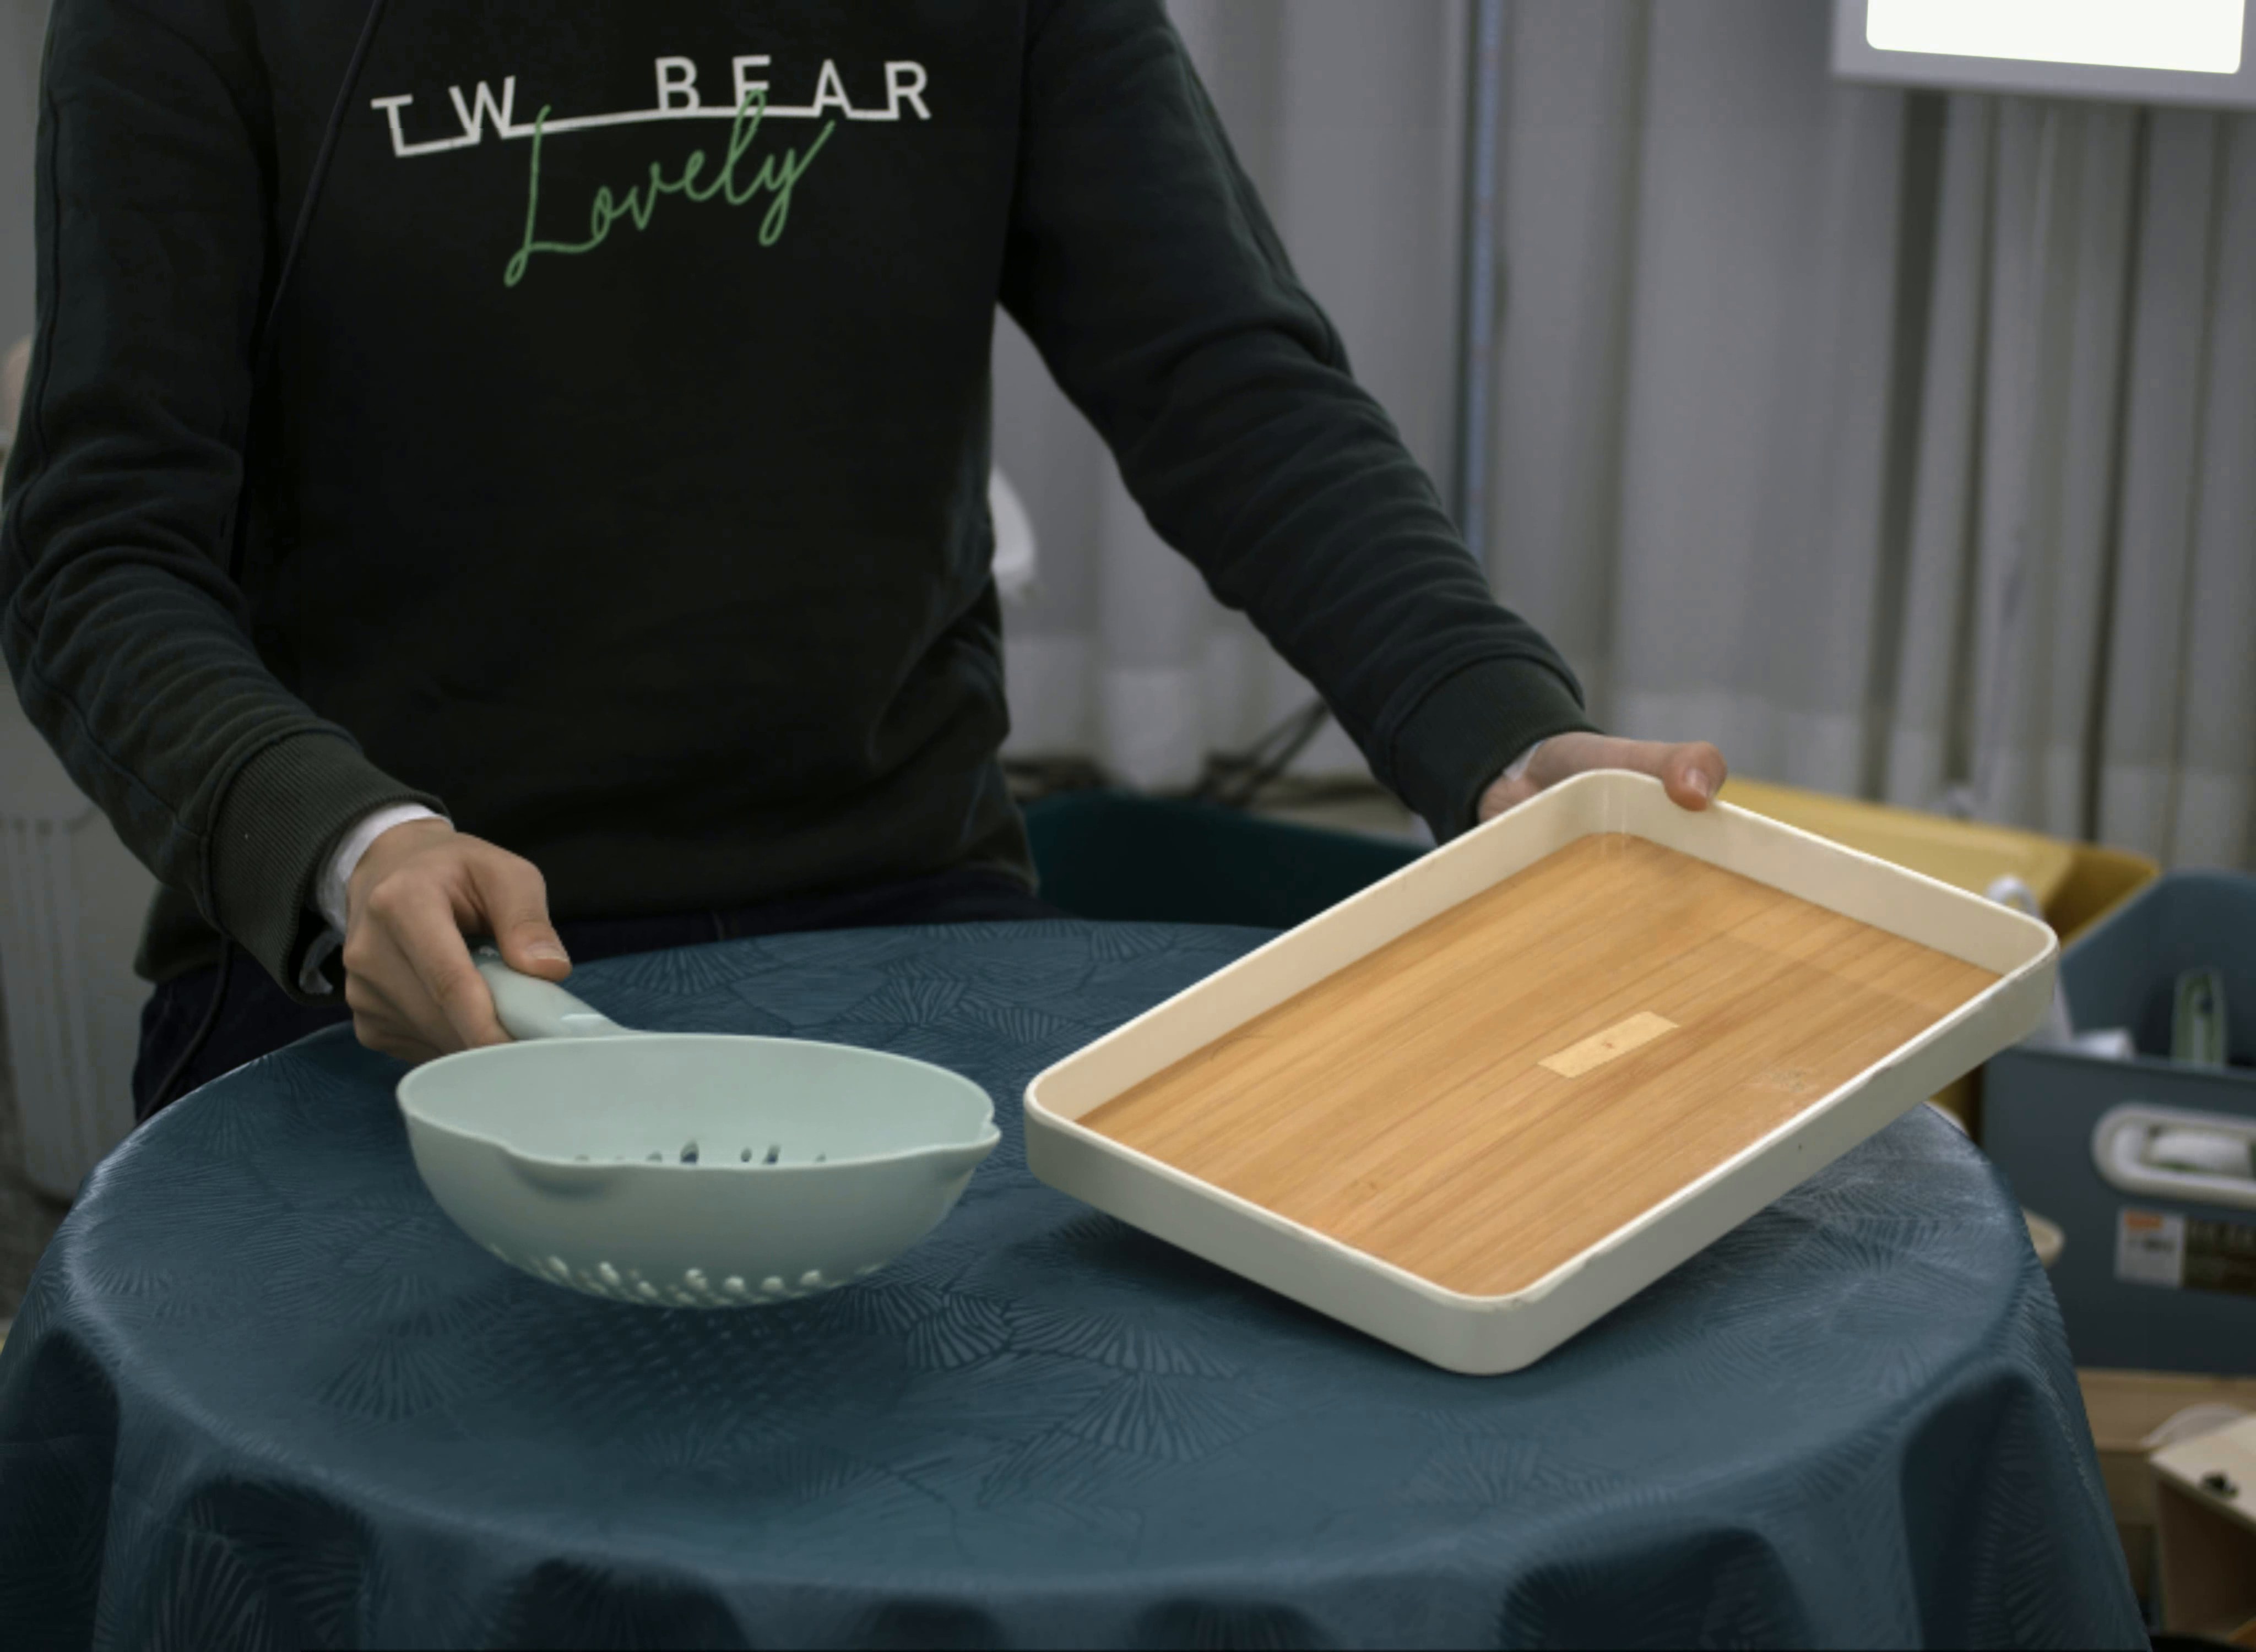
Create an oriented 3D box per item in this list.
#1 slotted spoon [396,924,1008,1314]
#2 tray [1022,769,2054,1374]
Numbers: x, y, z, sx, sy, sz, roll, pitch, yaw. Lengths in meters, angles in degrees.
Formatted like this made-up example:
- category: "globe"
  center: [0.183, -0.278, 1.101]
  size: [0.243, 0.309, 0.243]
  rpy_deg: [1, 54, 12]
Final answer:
- category: "slotted spoon"
  center: [-0.159, 0.072, 1.574]
  size: [0.170, 0.076, 0.354]
  rpy_deg: [0, 19, -23]
- category: "tray"
  center: [0.130, 0.068, 1.620]
  size: [0.189, 0.028, 0.301]
  rpy_deg: [23, 35, 36]
